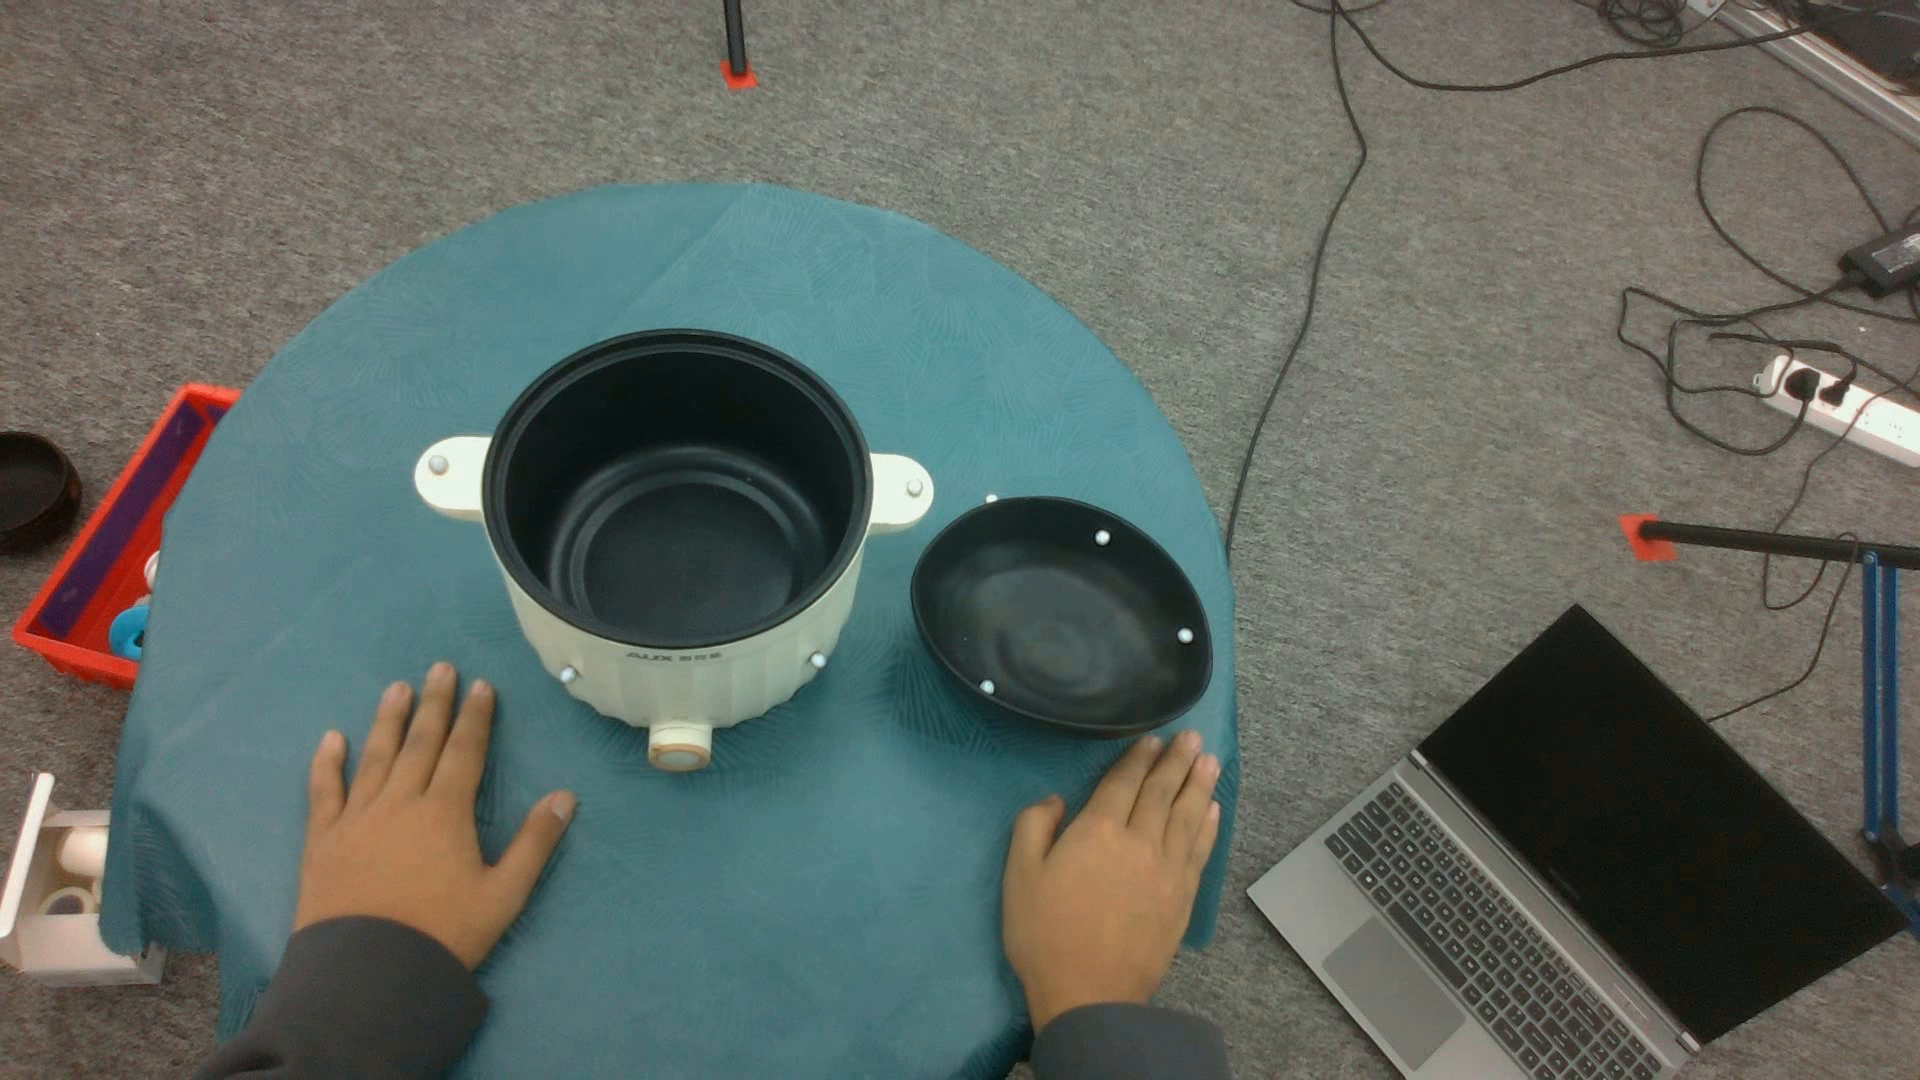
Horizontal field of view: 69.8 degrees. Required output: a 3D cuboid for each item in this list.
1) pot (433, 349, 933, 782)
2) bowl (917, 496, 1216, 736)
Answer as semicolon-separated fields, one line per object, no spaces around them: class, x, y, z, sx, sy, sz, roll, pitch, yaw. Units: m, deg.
pot;-0.136;0.016;0.722;0.240;0.142;0.191;-3;56;-7
bowl;0.057;0.050;0.768;0.170;0.066;0.138;16;58;1
